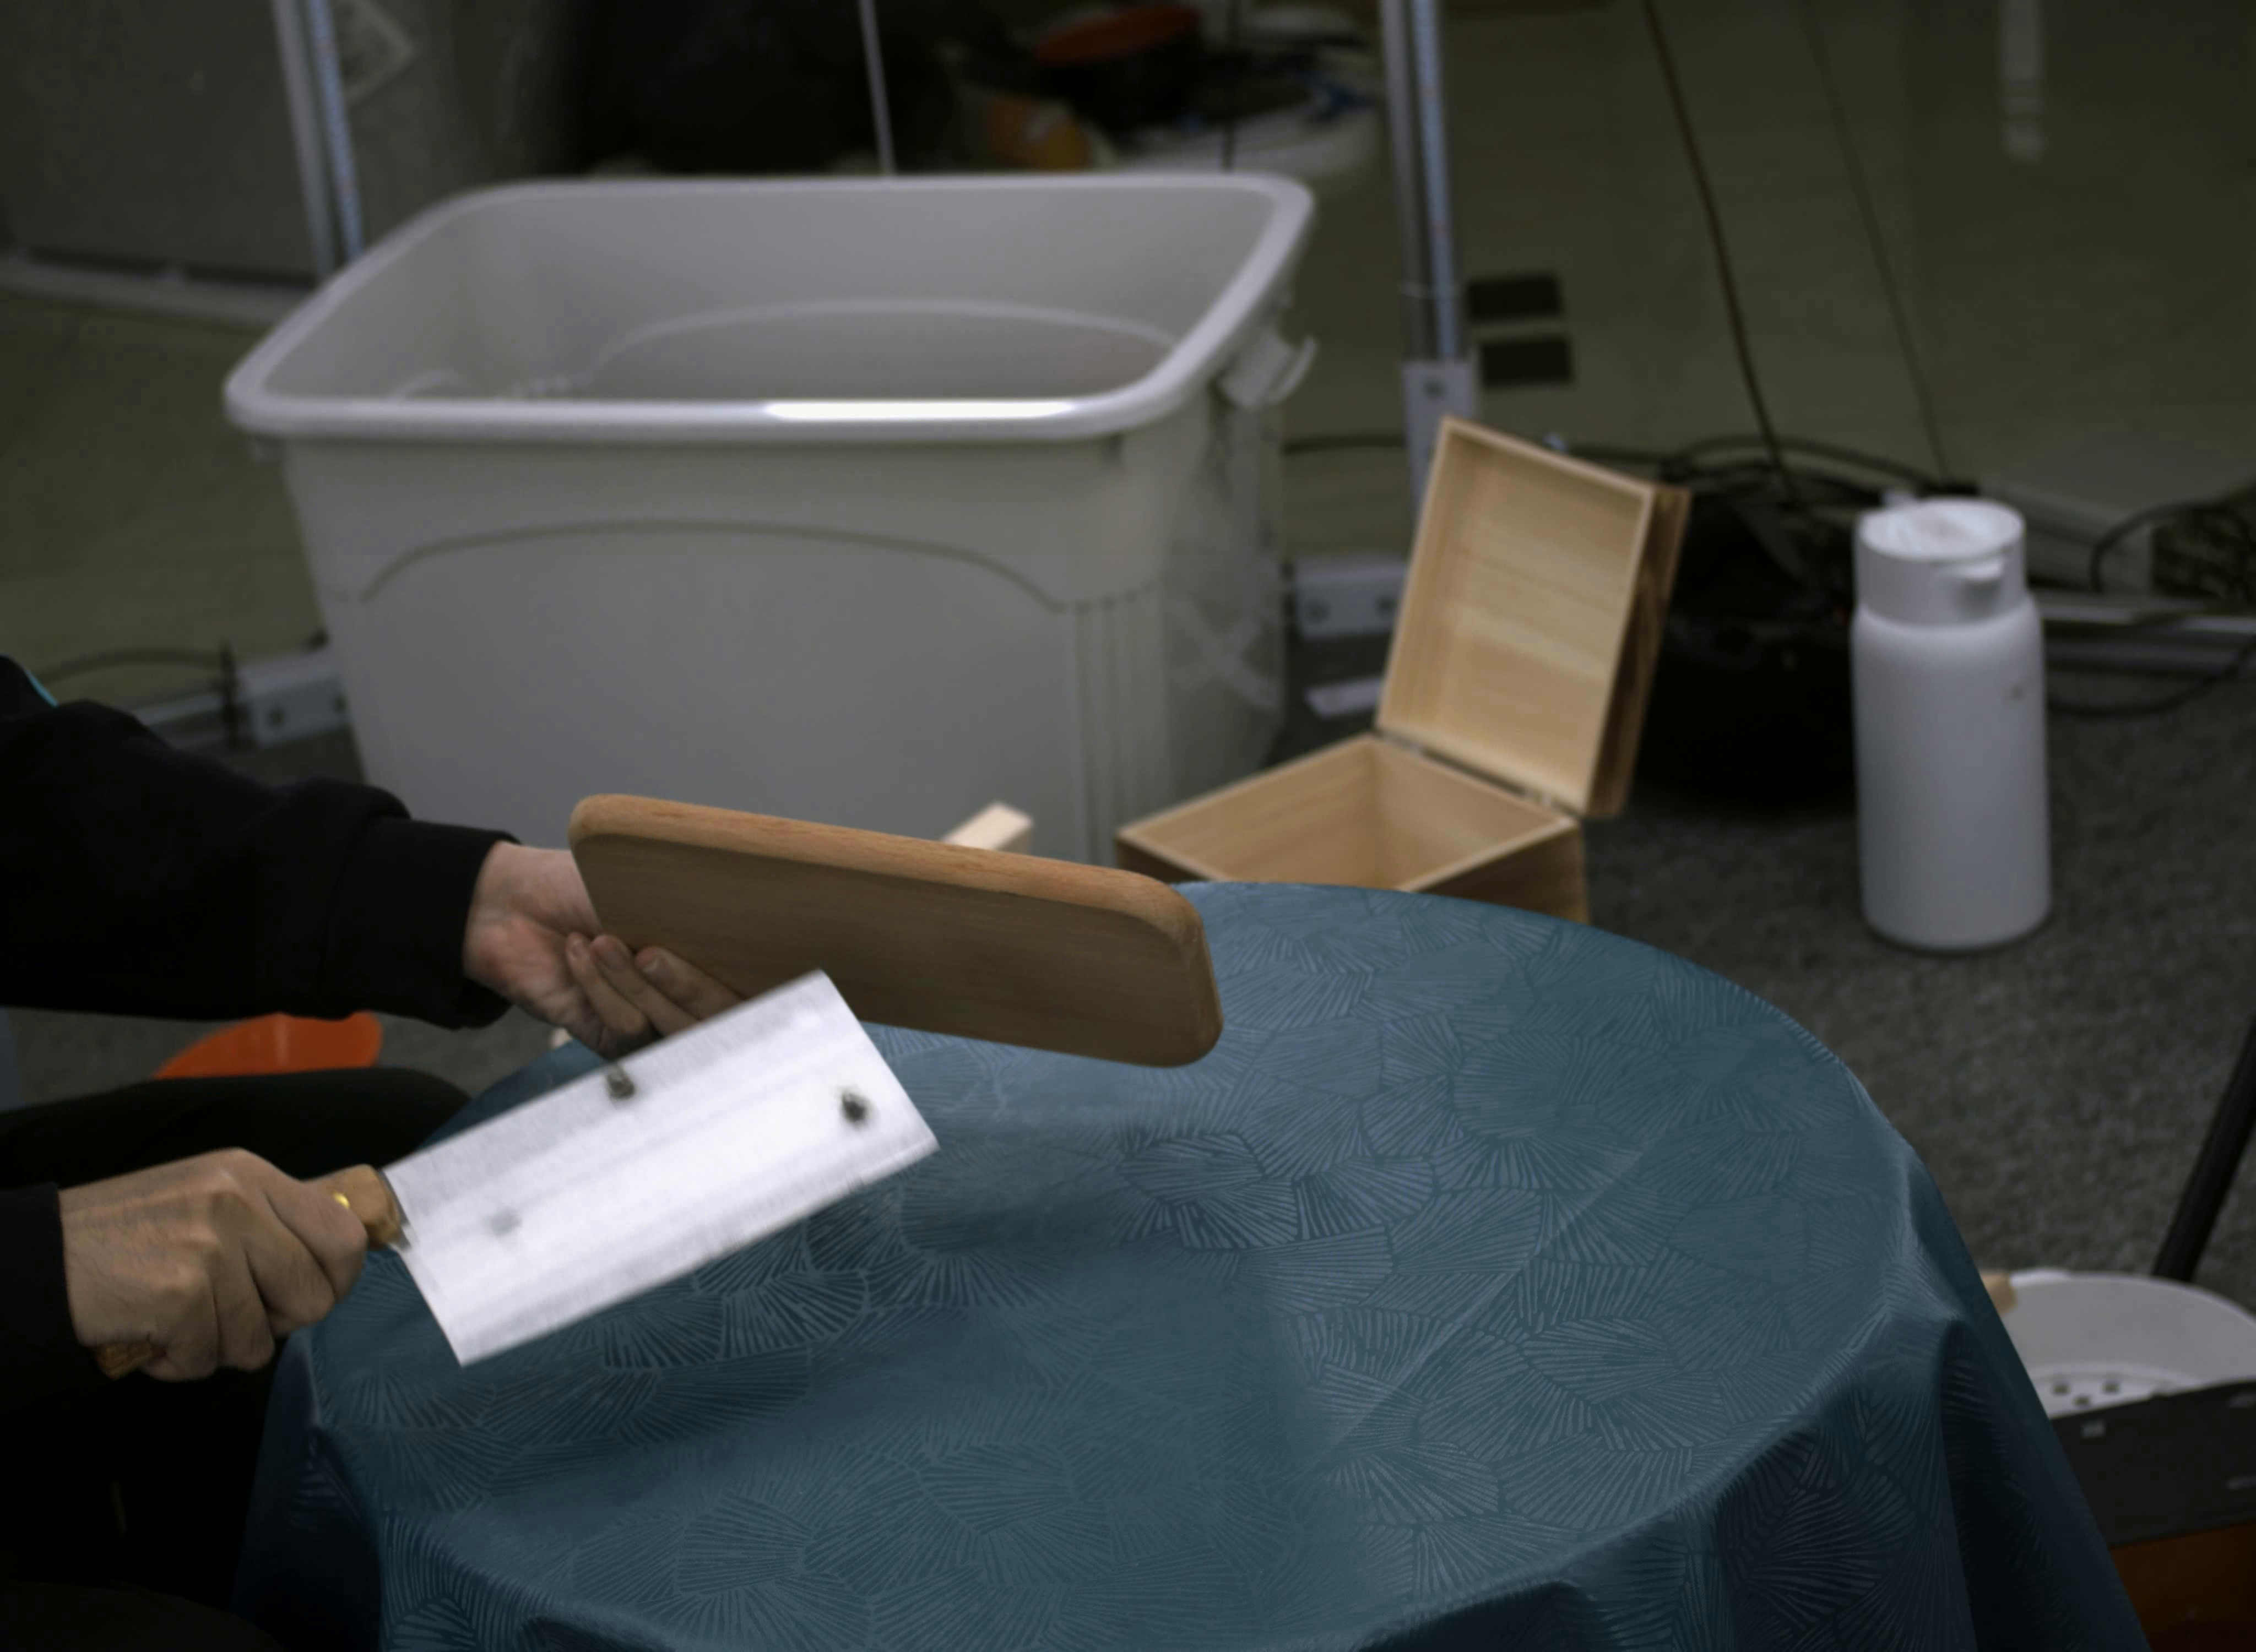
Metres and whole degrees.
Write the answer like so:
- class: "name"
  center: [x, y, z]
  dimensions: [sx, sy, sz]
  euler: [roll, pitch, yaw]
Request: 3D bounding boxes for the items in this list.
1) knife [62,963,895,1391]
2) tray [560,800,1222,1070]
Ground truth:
- class: "knife"
  center: [-0.225, 0.138, 2.015]
  dimensions: [0.304, 0.021, 0.091]
  euler: [-25, 56, -18]
- class: "tray"
  center: [-0.091, 0.043, 2.149]
  dimensions: [0.250, 0.133, 0.022]
  euler: [7, 56, 15]
